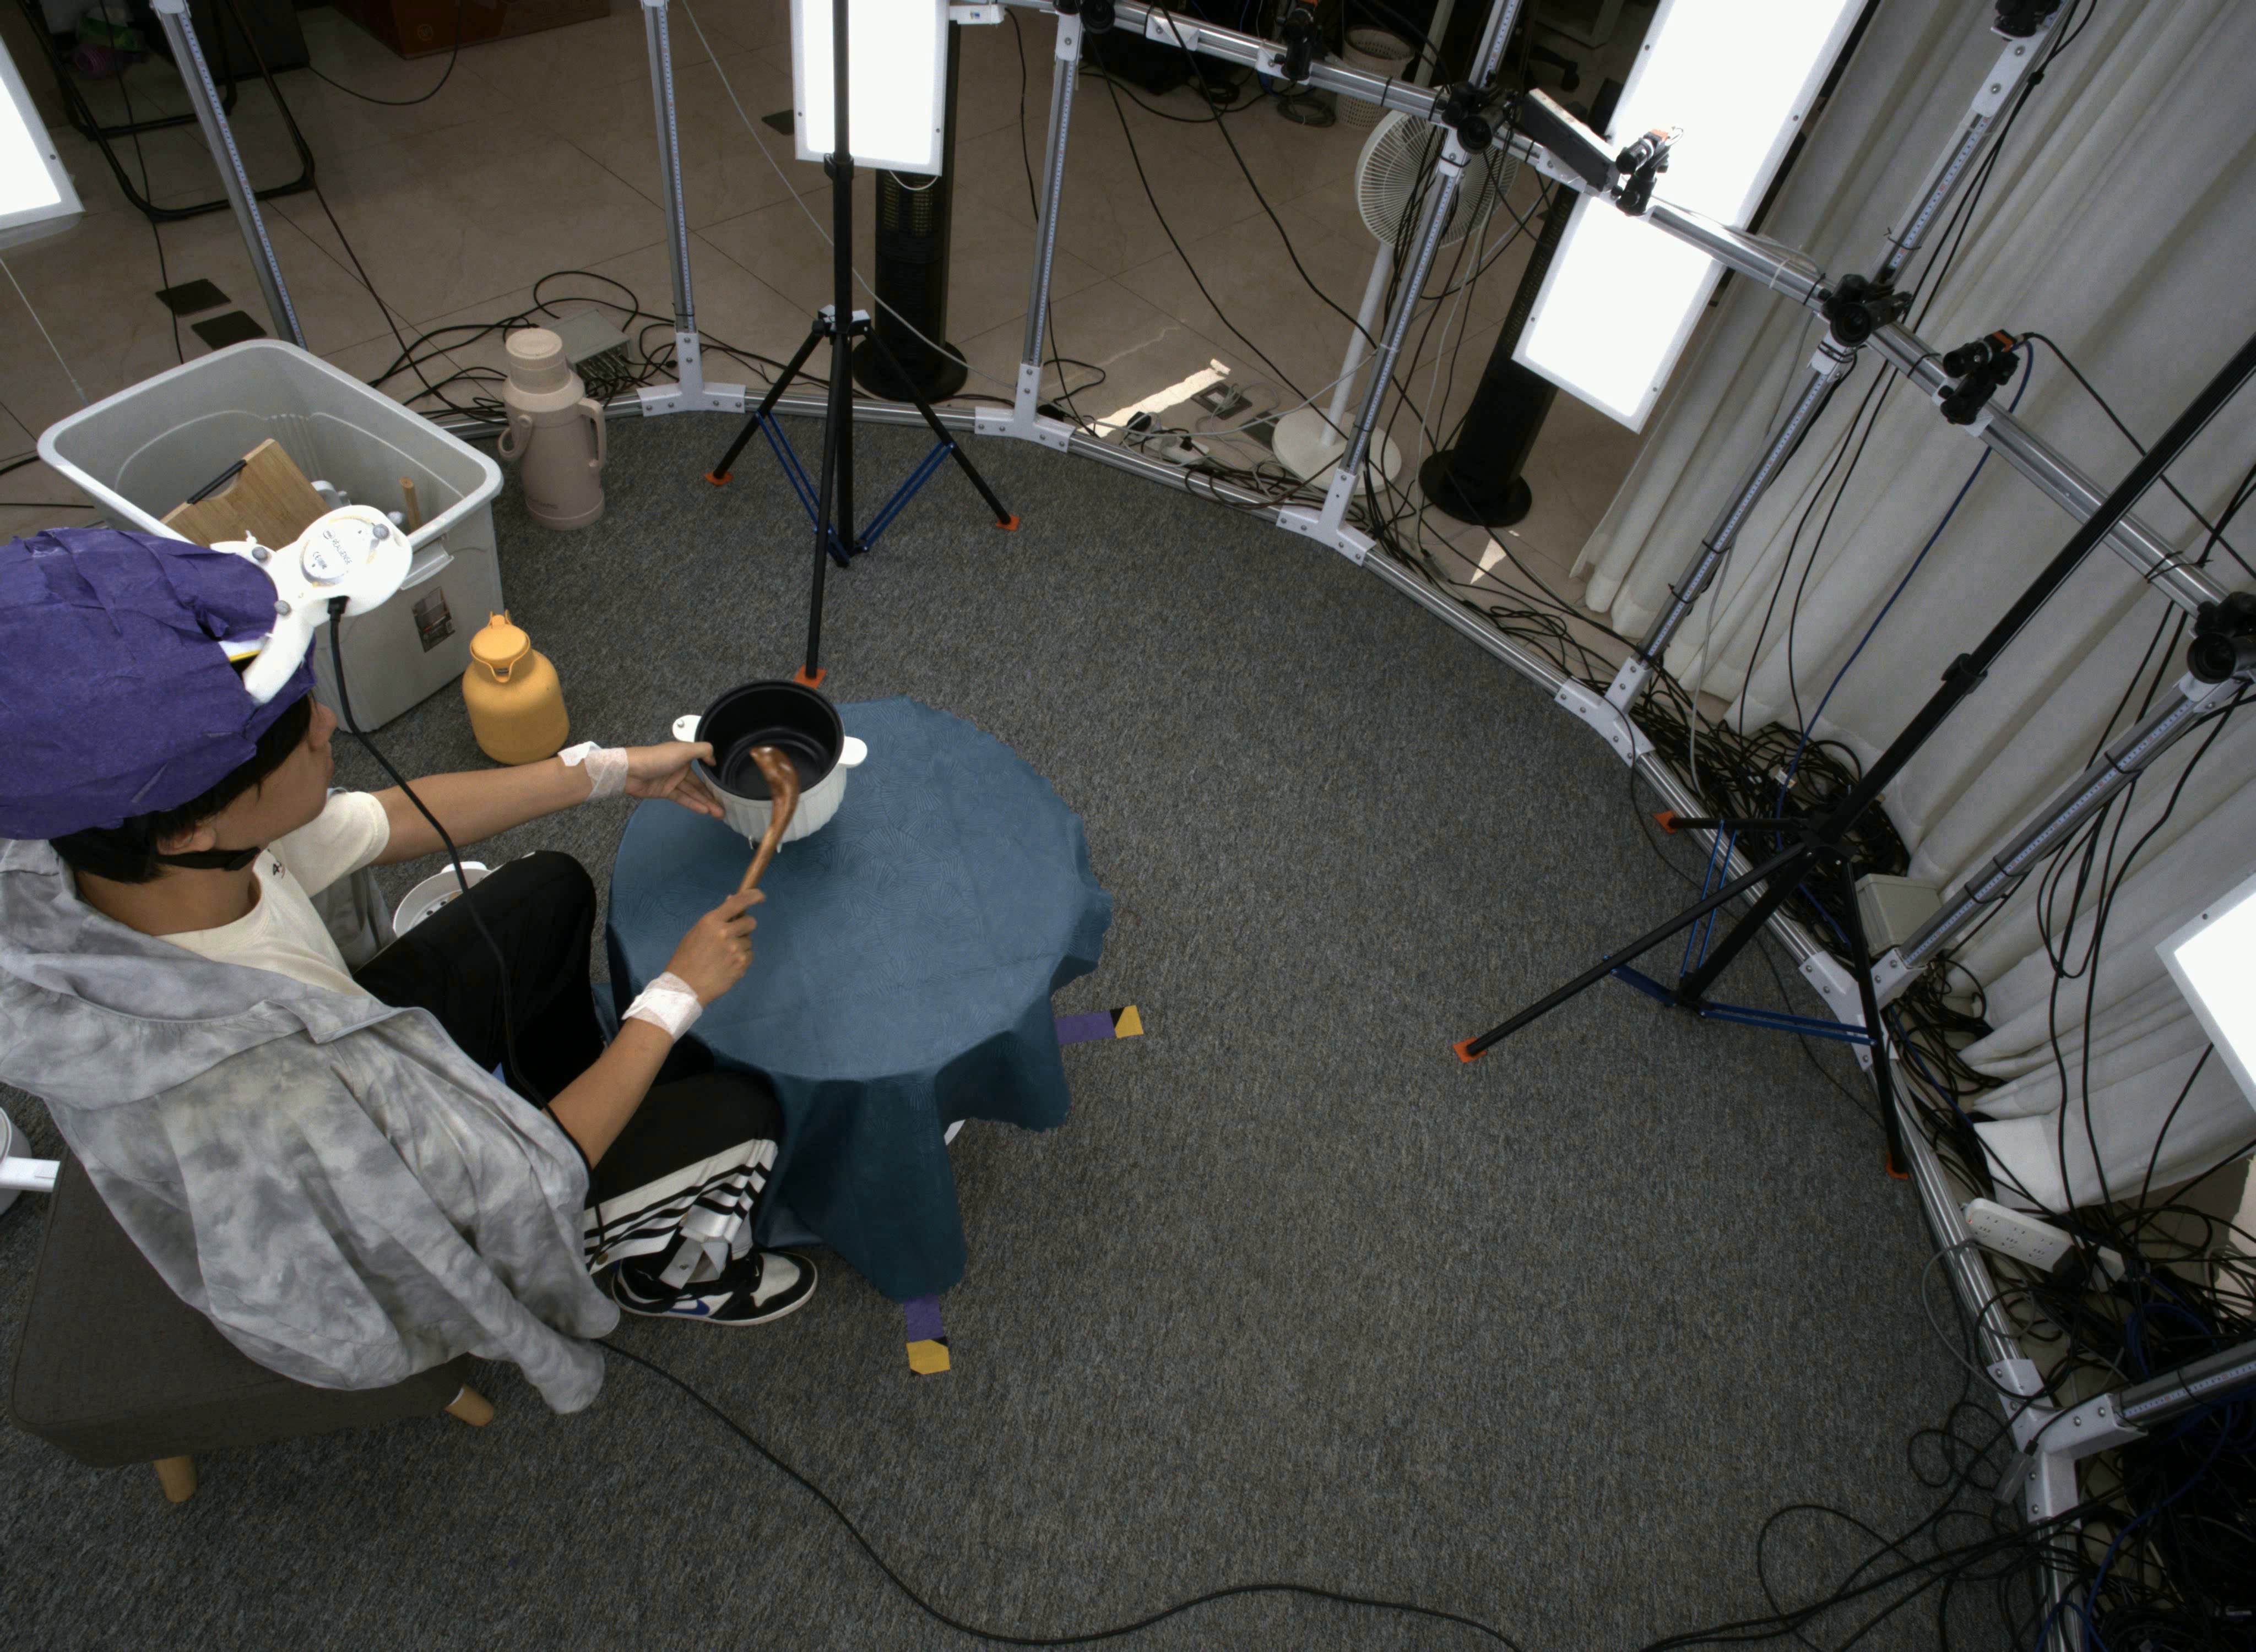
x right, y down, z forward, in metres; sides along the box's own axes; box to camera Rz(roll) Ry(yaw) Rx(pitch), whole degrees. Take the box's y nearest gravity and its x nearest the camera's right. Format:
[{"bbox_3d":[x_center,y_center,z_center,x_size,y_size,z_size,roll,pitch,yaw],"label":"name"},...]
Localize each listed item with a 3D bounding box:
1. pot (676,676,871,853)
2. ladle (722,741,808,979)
[{"bbox_3d":[-0.442,-0.081,1.641,0.239,0.145,0.188,8,62,-6],"label":"pot"},{"bbox_3d":[-0.436,0.033,1.484,0.074,0.084,0.274,13,75,19],"label":"ladle"}]
